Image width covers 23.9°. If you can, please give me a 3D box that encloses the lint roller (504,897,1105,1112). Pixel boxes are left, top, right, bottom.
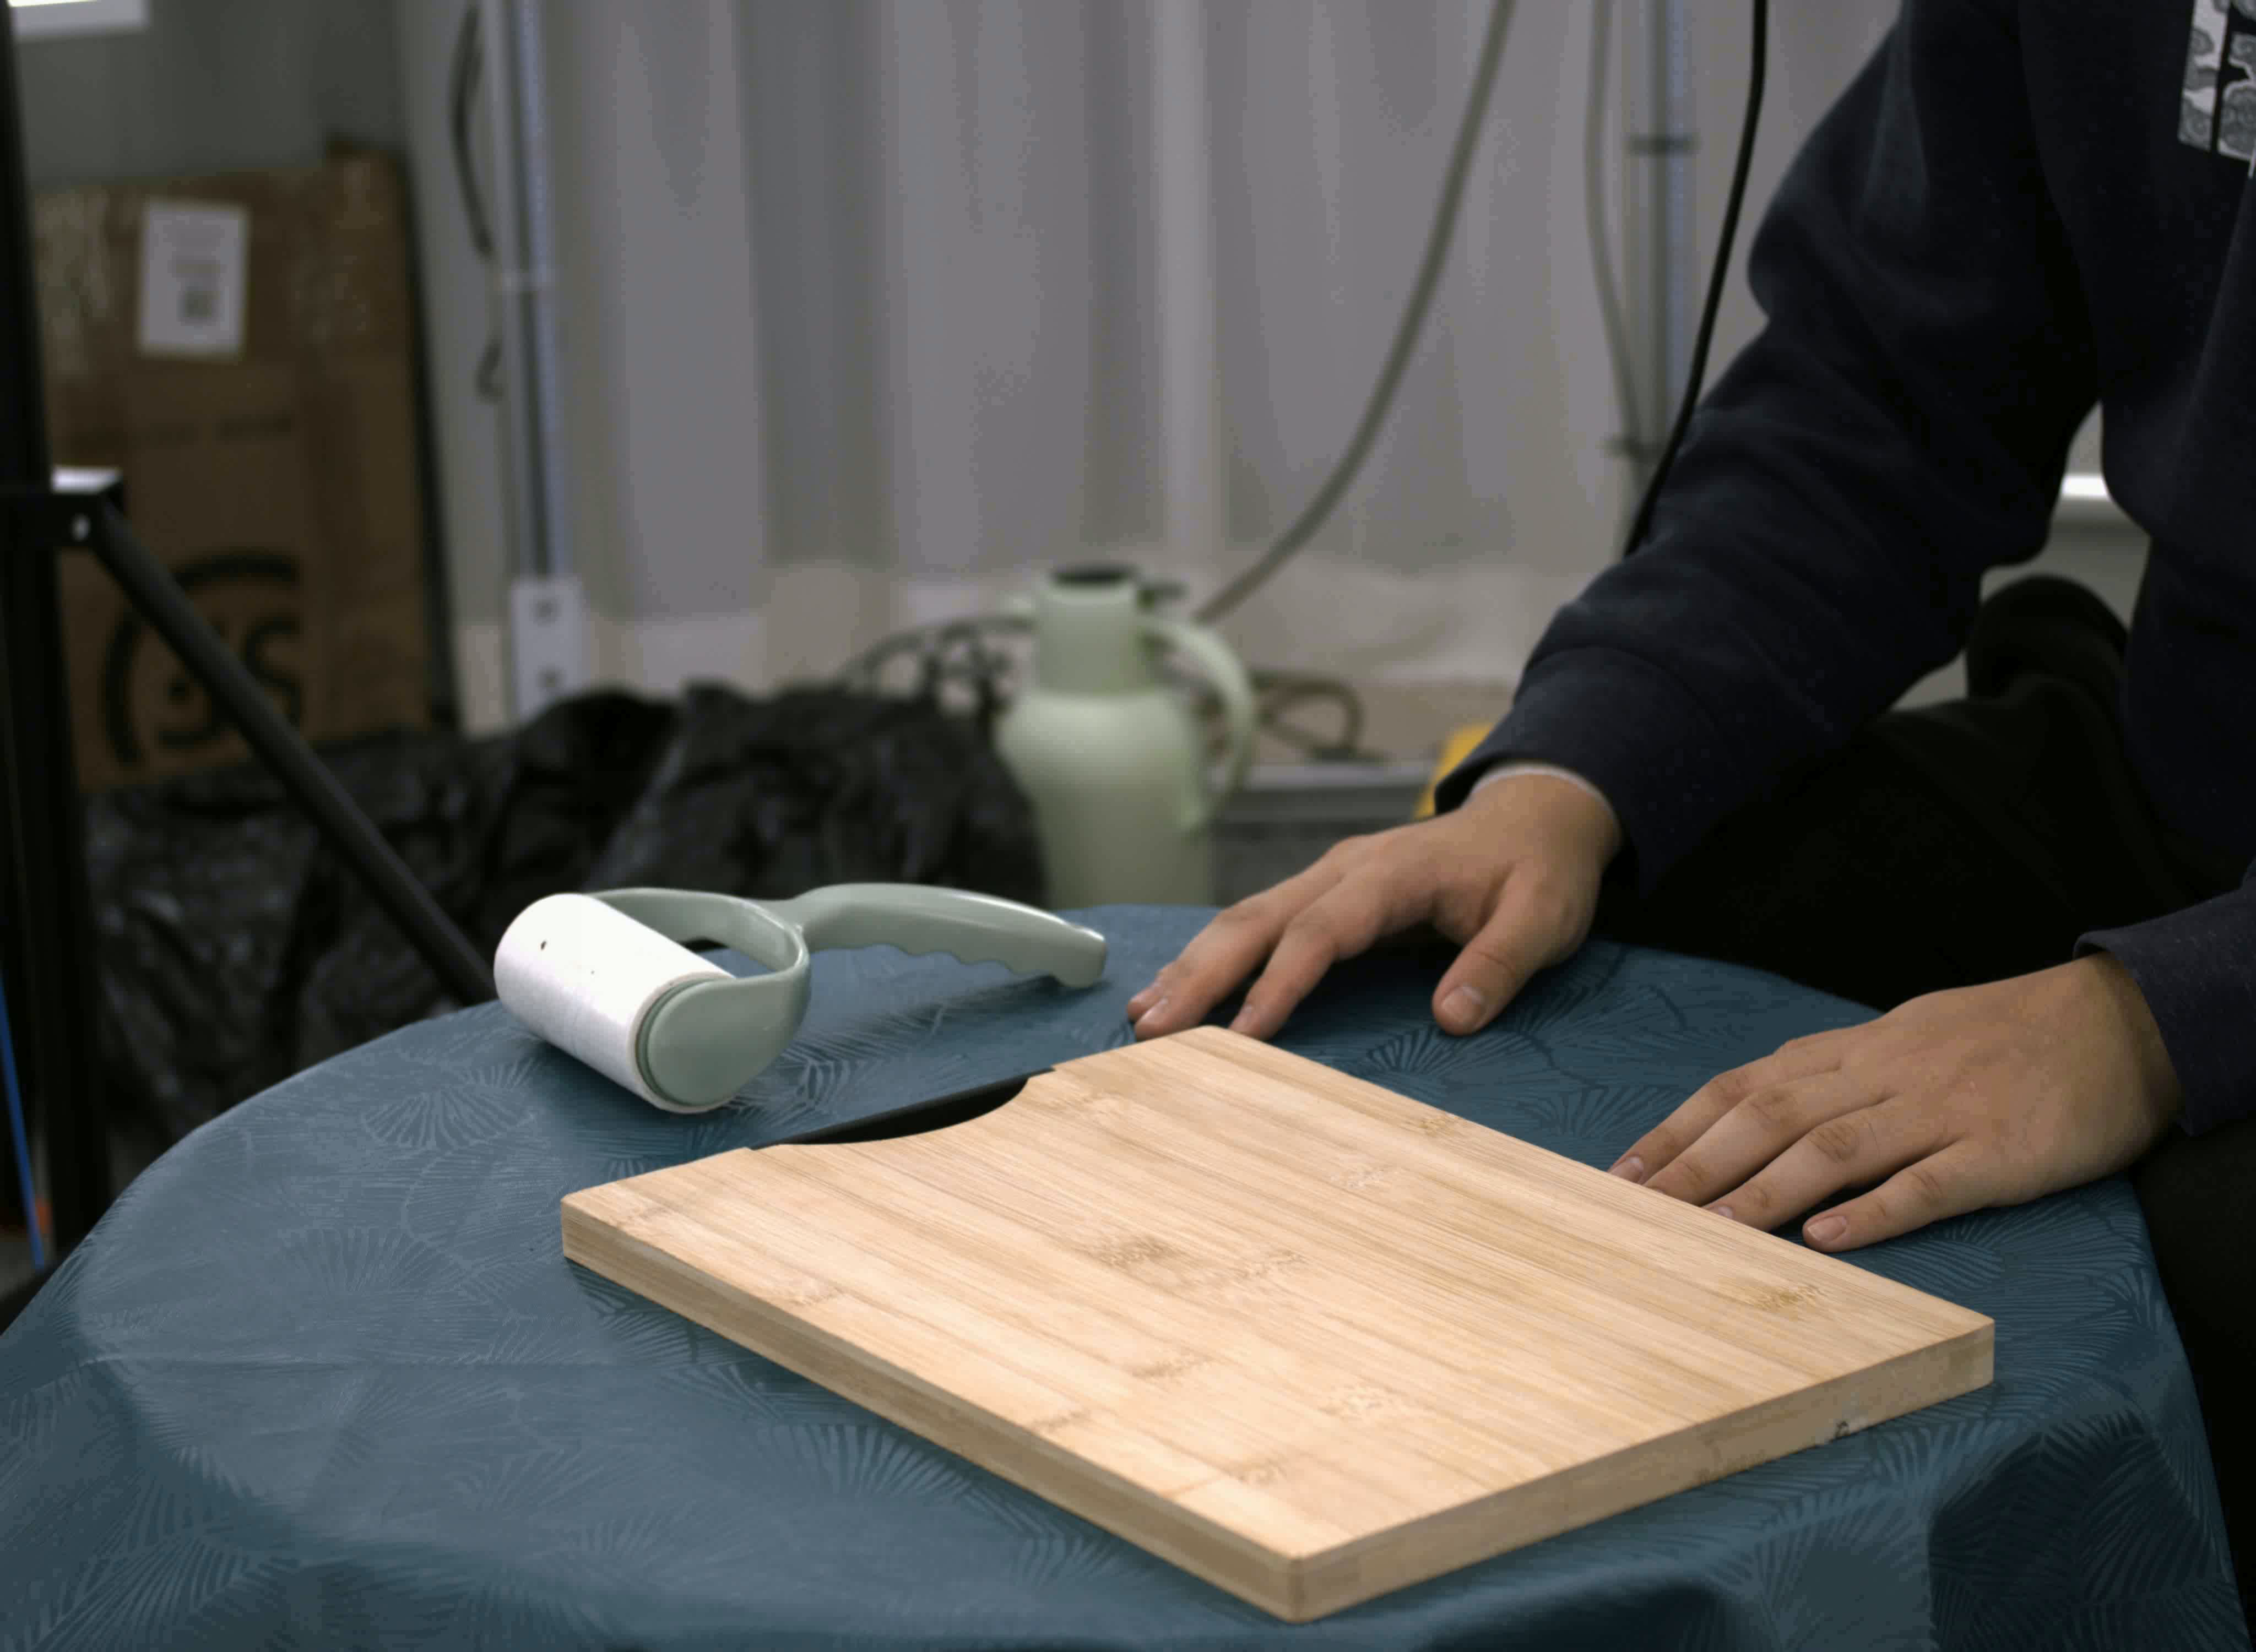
[{"bbox_3d":[-0.090,0.048,1.707,0.193,0.048,0.119,-8,14,-29],"label":"lint roller"}]

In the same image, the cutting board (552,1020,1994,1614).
[{"bbox_3d":[0.032,0.126,1.460,0.245,0.023,0.357,-13,19,-35],"label":"cutting board"}]
